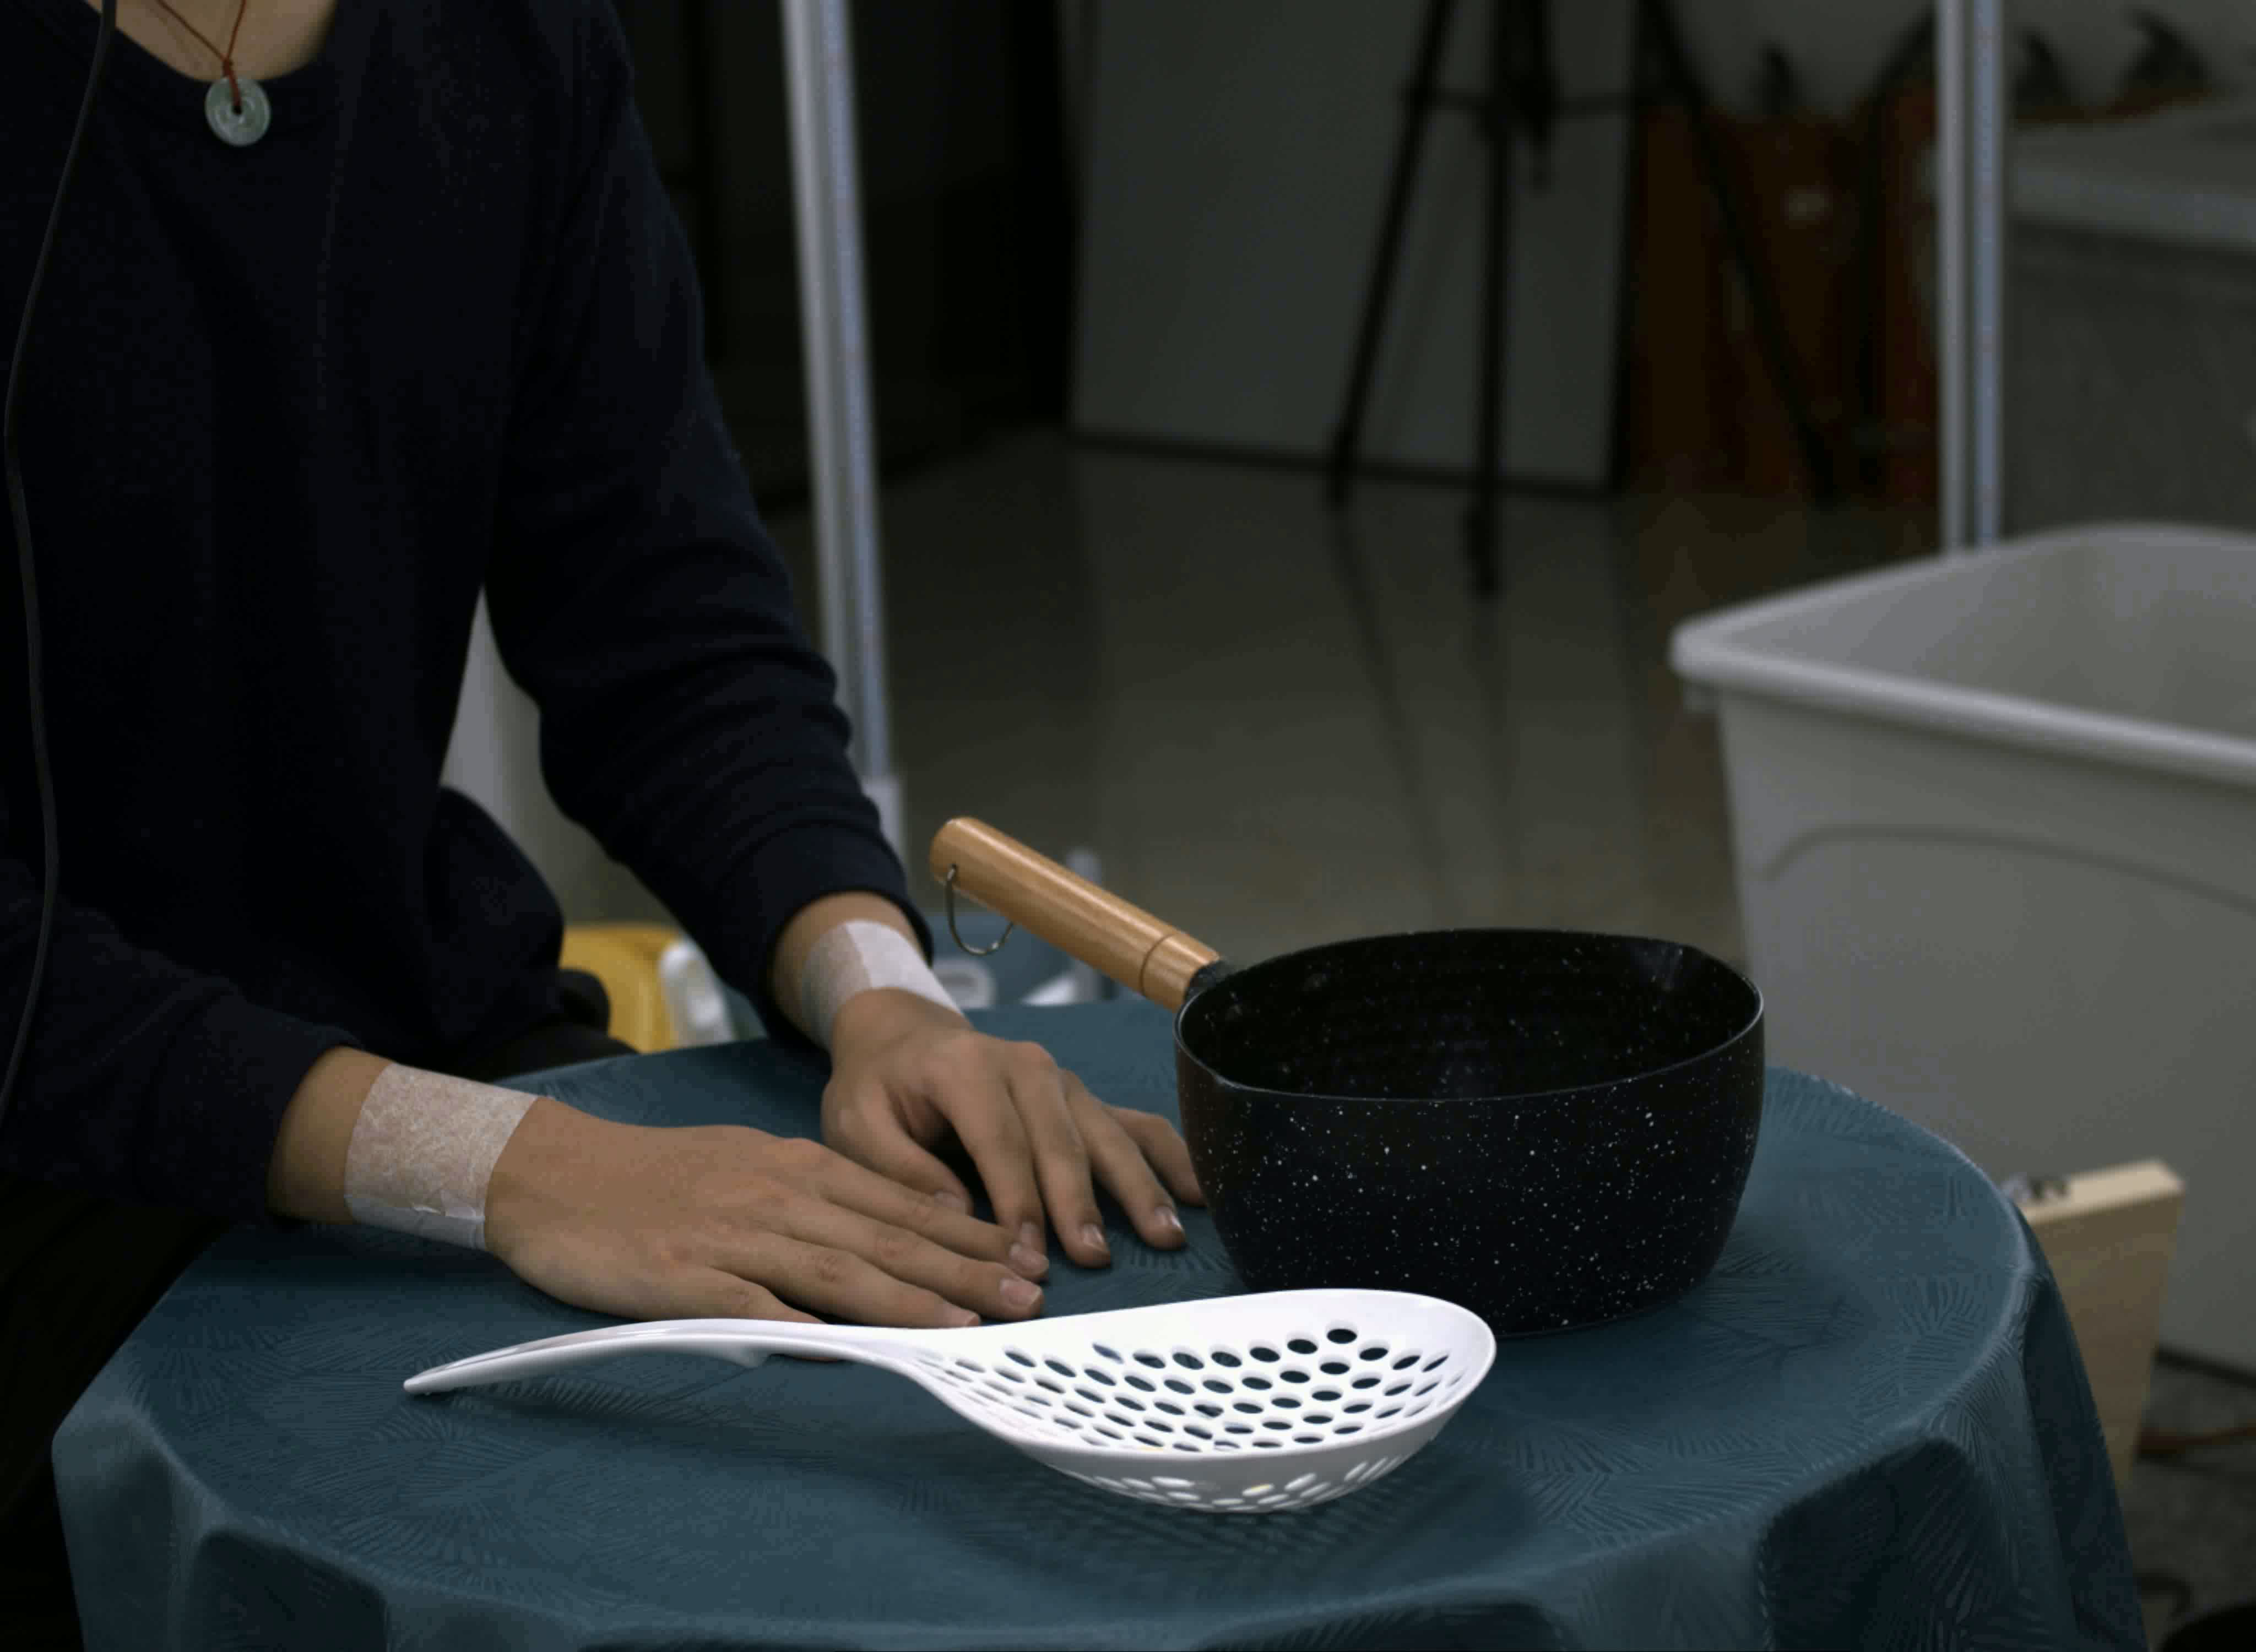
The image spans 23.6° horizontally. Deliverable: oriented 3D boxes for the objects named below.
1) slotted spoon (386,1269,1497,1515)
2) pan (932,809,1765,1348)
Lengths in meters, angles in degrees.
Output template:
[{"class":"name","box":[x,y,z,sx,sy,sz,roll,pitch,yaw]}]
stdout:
[{"class":"slotted spoon","box":[-0.061,0.159,1.543,0.348,0.051,0.135,4,18,26]},{"class":"pan","box":[0.053,0.073,1.722,0.203,0.109,0.346,-17,20,-39]}]
